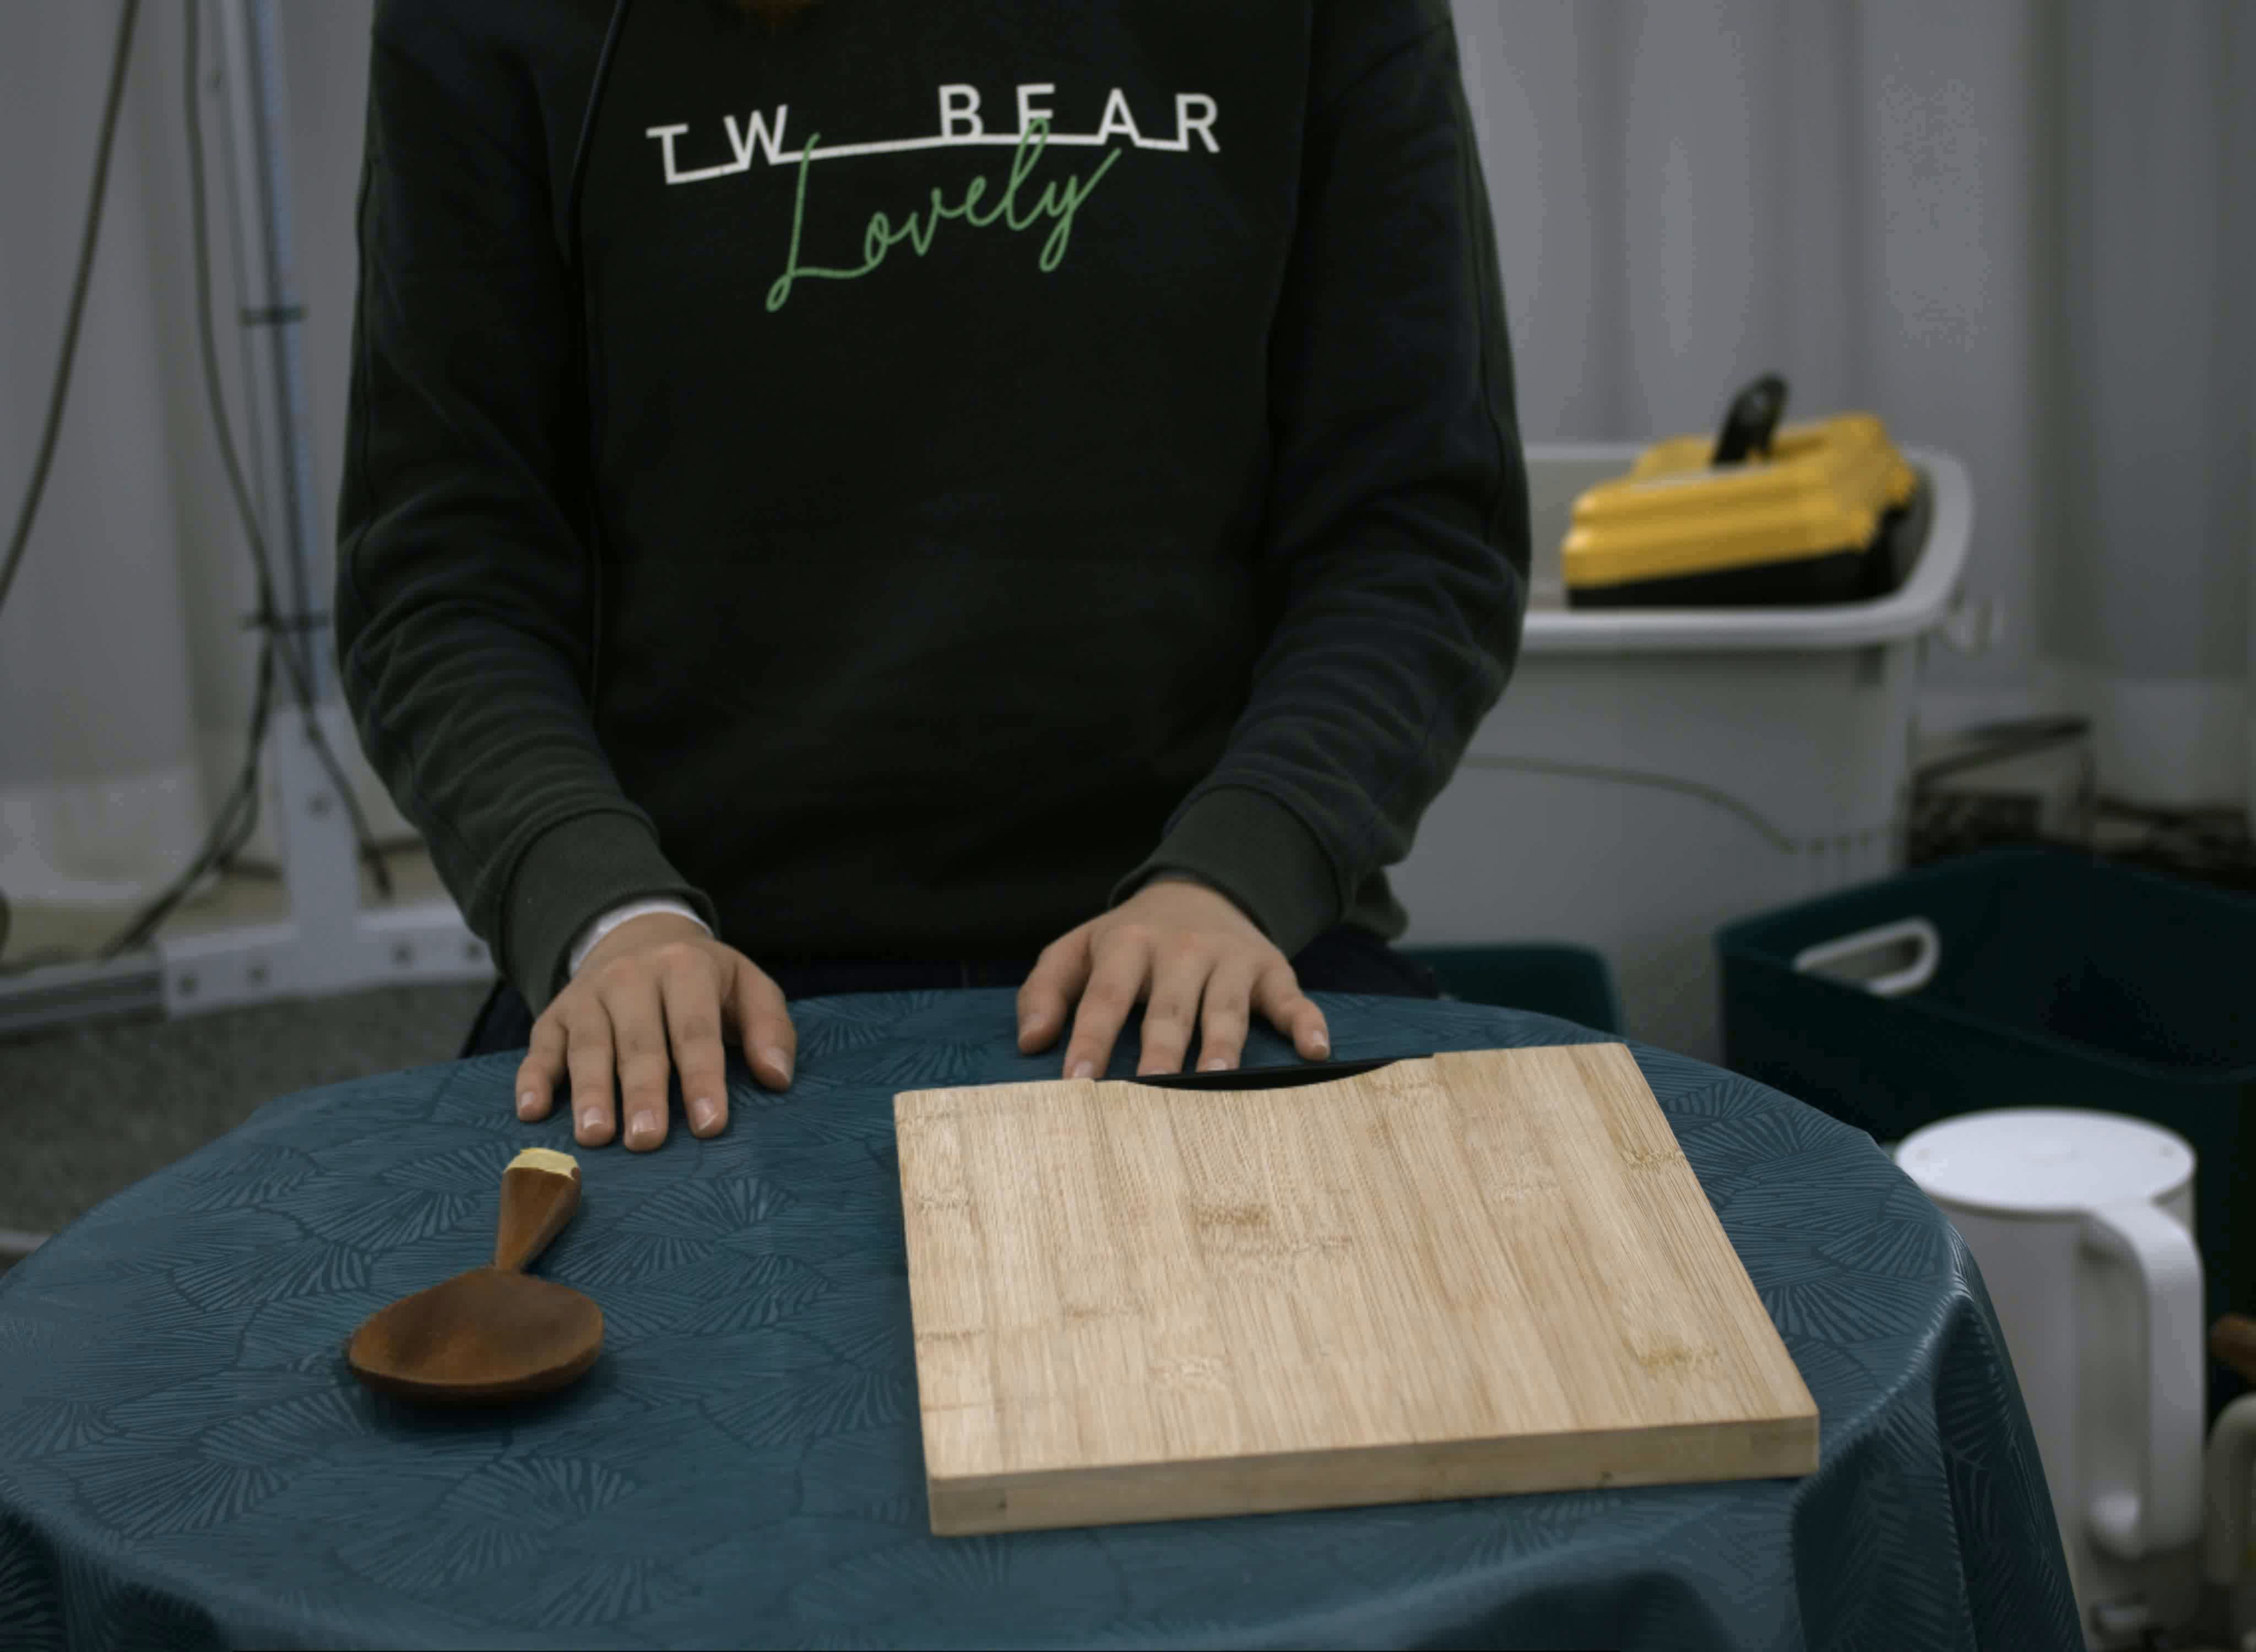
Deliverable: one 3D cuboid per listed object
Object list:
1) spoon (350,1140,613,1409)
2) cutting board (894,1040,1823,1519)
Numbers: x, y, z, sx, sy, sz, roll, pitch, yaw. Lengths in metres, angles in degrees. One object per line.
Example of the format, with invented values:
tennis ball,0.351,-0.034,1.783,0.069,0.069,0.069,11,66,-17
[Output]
spoon,-0.185,0.135,1.638,0.075,0.017,0.217,-4,15,2
cutting board,0.055,0.129,1.619,0.250,0.023,0.351,-3,15,-4
